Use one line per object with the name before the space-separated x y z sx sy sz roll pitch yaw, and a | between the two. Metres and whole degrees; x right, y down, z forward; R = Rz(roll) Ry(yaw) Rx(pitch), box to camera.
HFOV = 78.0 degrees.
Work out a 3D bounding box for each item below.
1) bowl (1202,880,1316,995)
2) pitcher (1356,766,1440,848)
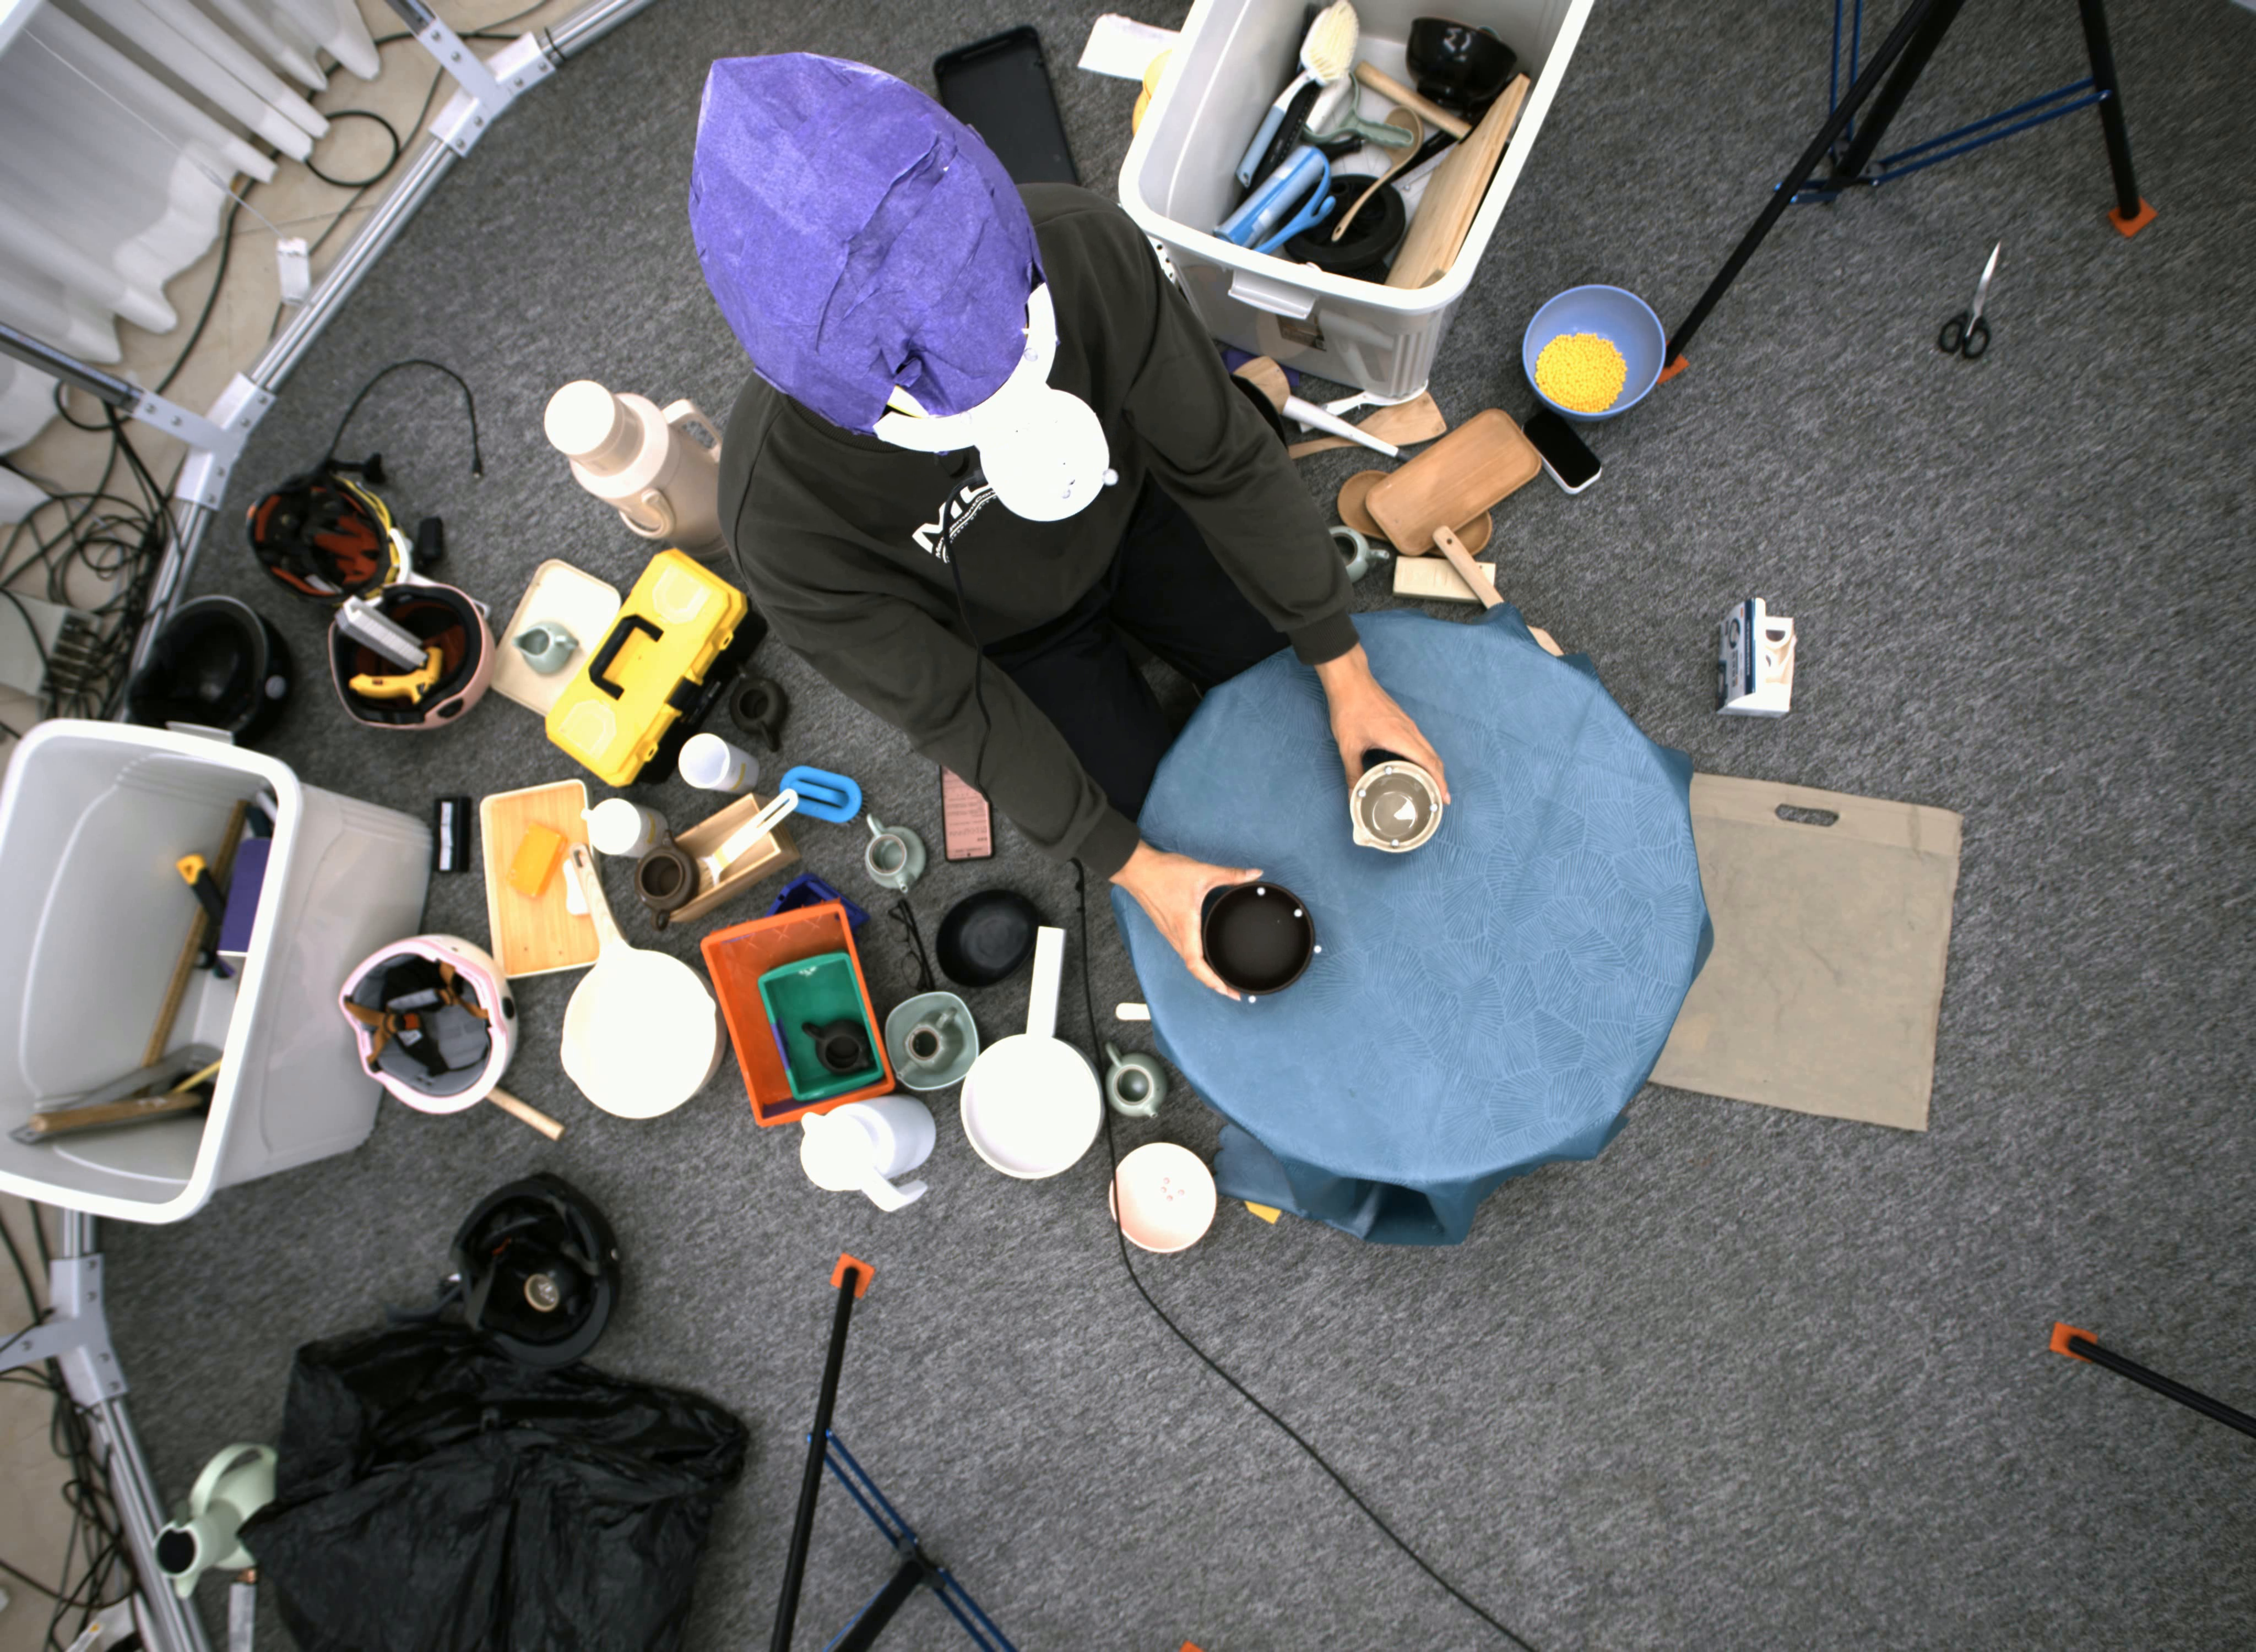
bowl | 0.138 0.116 1.445 0.118 0.070 0.117 -1 84 12
pitcher | 0.277 -0.016 1.427 0.096 0.071 0.083 -36 83 7
